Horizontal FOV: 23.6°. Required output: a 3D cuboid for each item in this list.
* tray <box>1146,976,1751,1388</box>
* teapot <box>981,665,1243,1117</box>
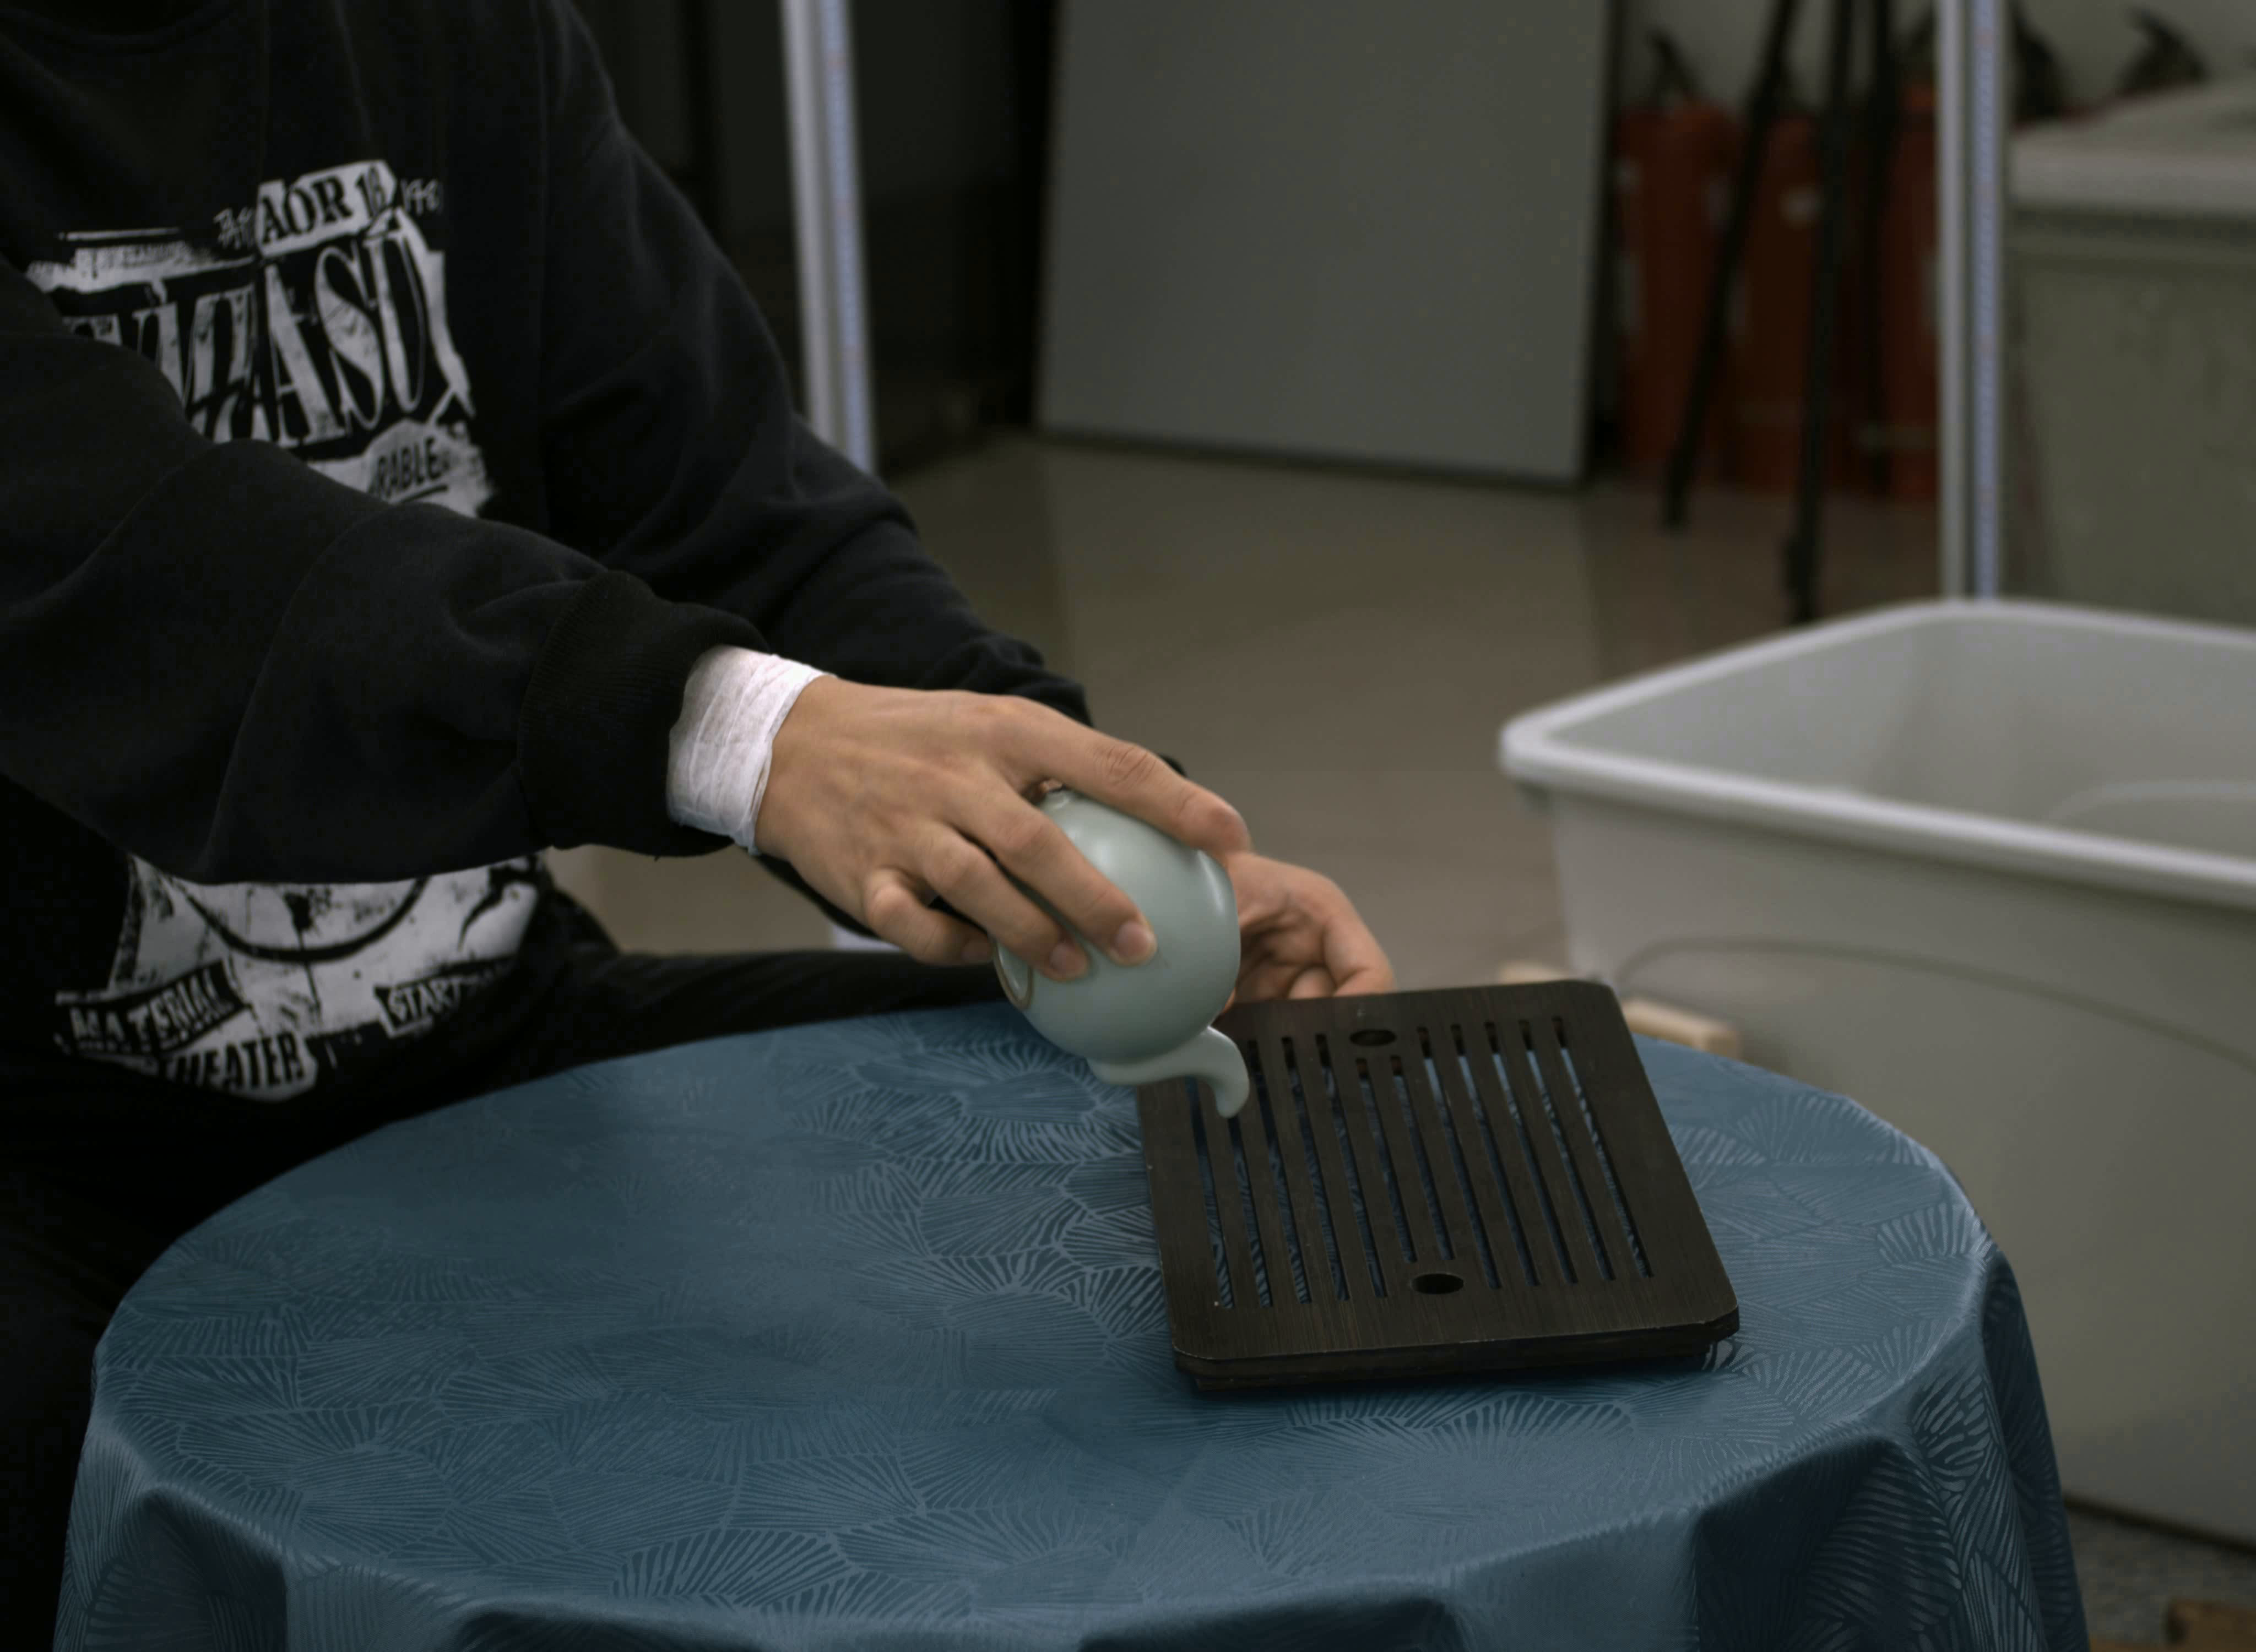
[{"bbox_3d":[0.094,0.110,1.714,0.168,0.019,0.307,-5,17,0],"label":"tray"},{"bbox_3d":[-0.004,0.024,1.642,0.073,0.145,0.089,-9,13,-17],"label":"teapot"}]
